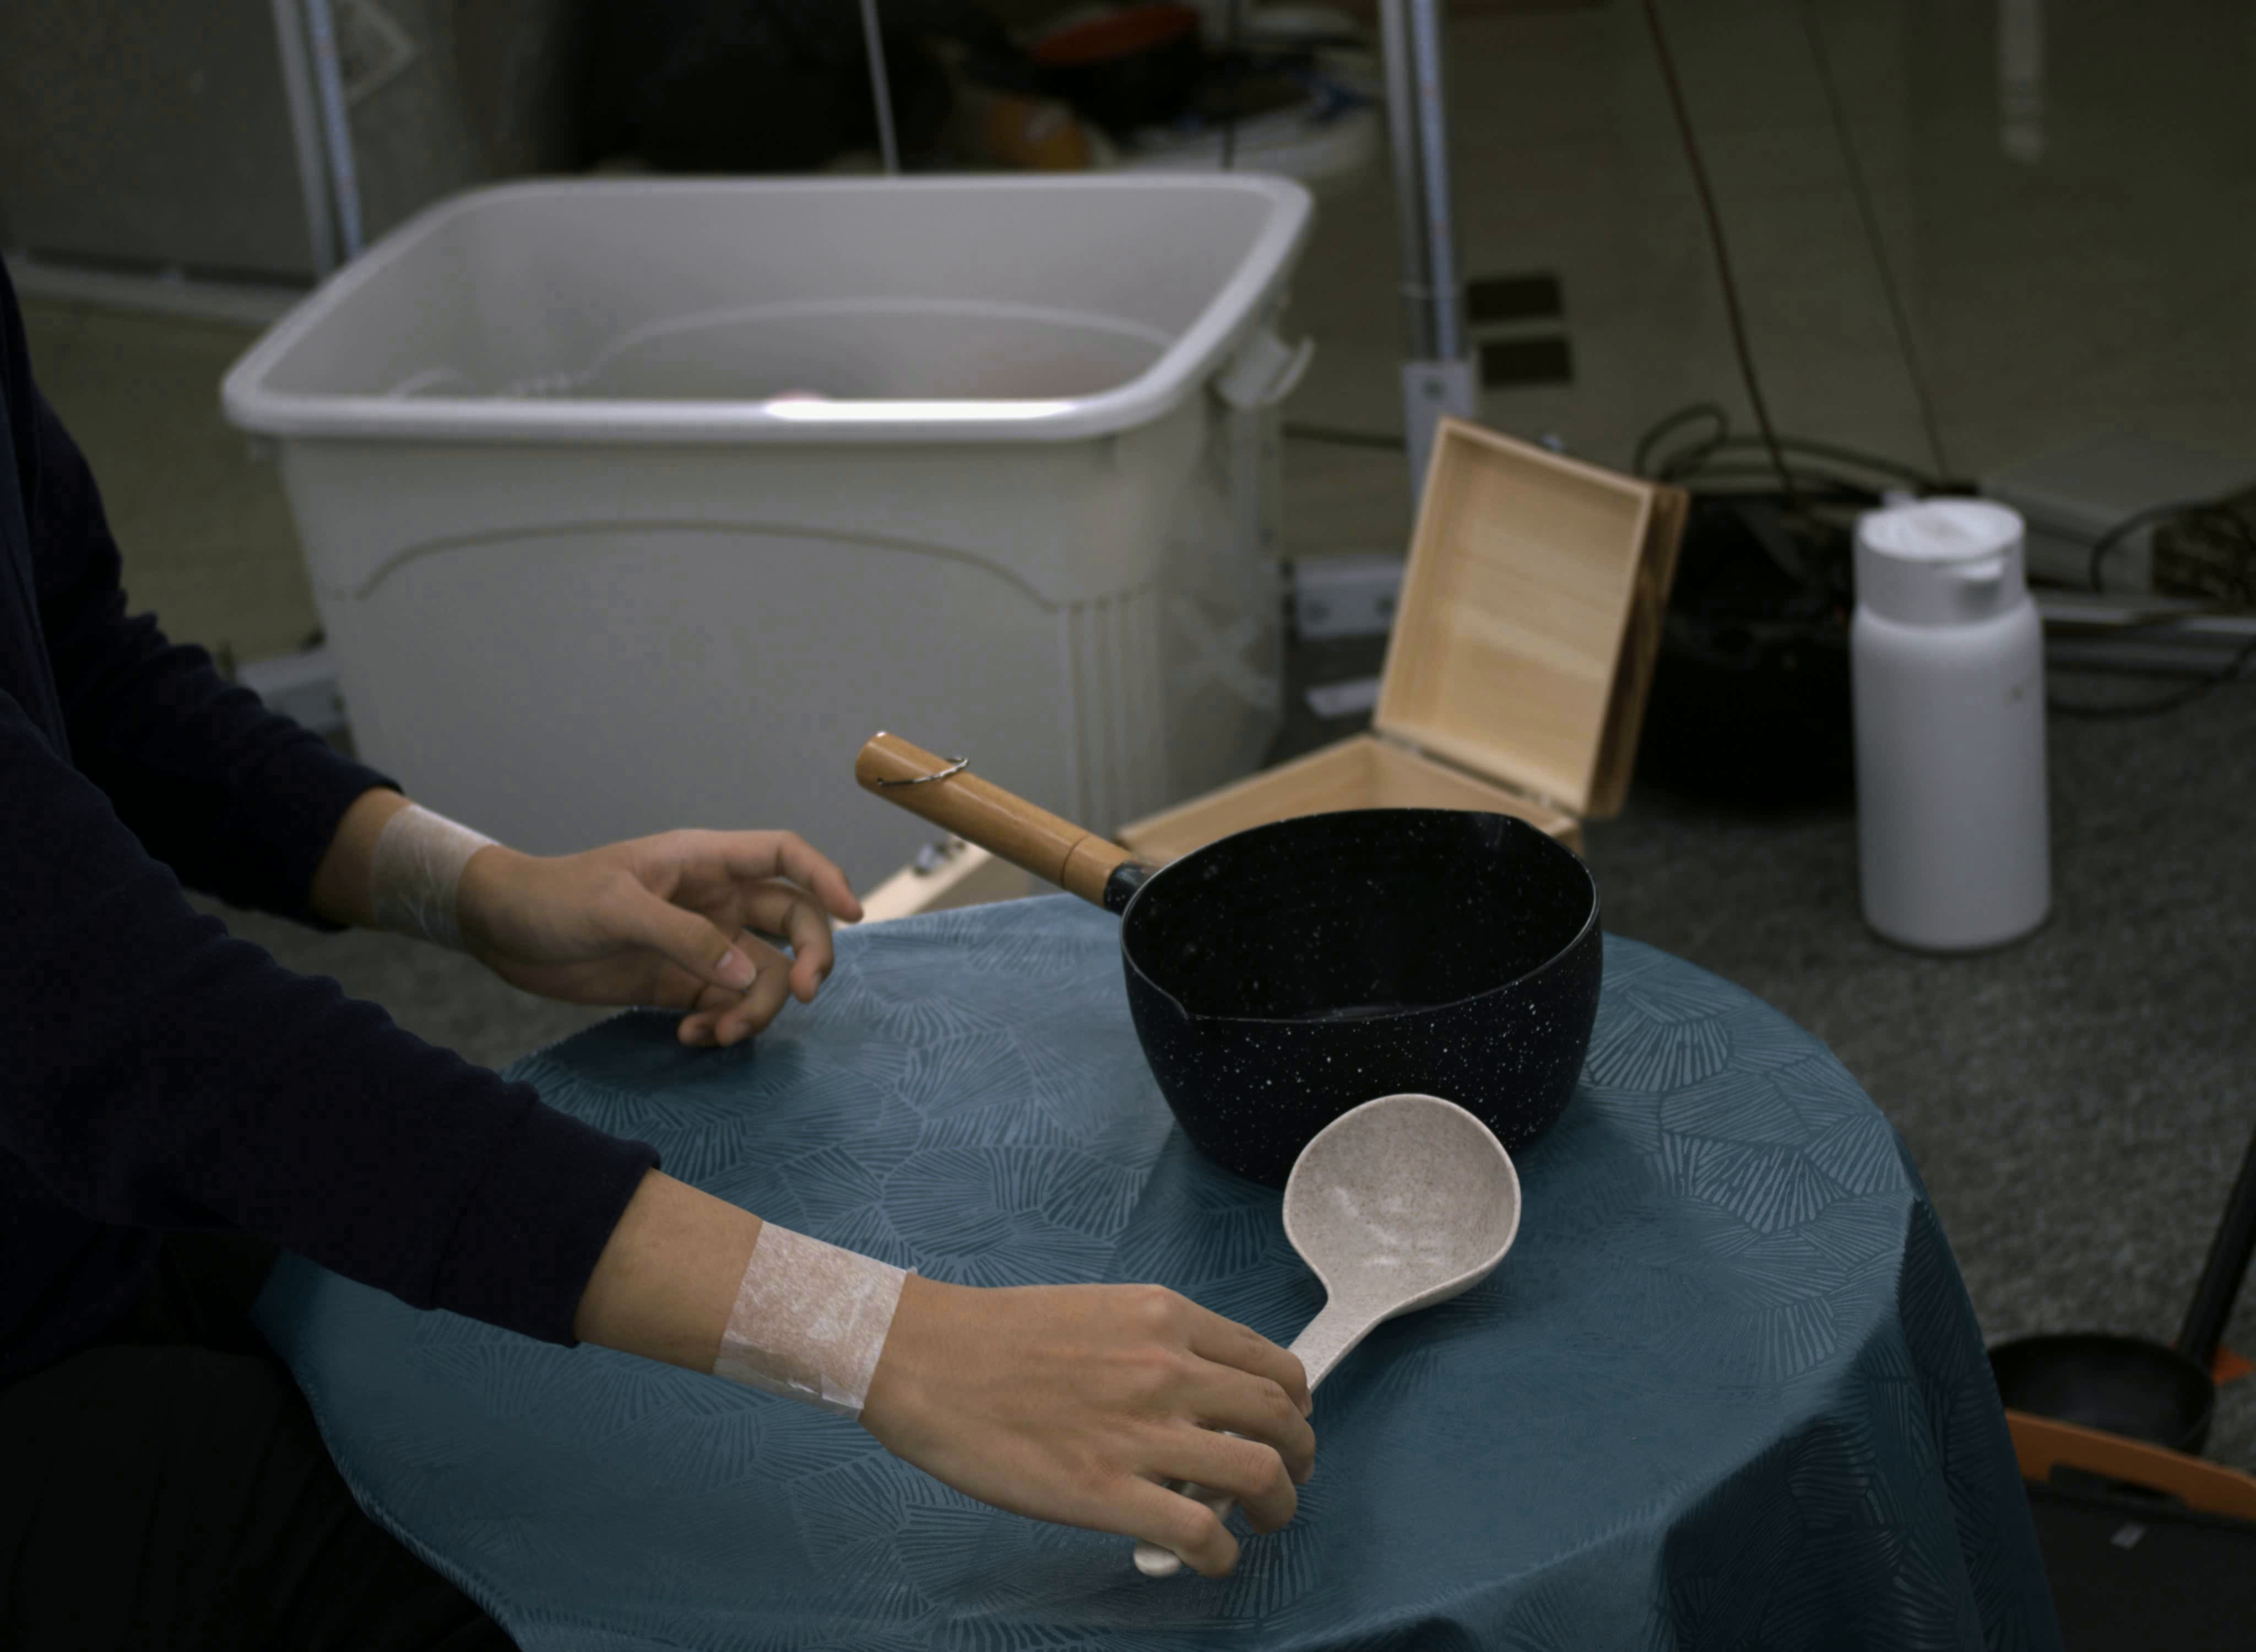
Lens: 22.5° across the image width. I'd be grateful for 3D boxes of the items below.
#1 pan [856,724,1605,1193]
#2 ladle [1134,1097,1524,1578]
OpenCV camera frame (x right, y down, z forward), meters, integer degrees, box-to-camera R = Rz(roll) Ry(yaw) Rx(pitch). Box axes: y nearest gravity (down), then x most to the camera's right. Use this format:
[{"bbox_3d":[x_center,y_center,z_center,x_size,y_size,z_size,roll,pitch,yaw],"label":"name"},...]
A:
[{"bbox_3d":[0.029,0.044,2.213,0.340,0.110,0.205,15,34,35],"label":"pan"},{"bbox_3d":[0.060,0.171,1.951,0.089,0.070,0.272,13,23,18],"label":"ladle"}]
